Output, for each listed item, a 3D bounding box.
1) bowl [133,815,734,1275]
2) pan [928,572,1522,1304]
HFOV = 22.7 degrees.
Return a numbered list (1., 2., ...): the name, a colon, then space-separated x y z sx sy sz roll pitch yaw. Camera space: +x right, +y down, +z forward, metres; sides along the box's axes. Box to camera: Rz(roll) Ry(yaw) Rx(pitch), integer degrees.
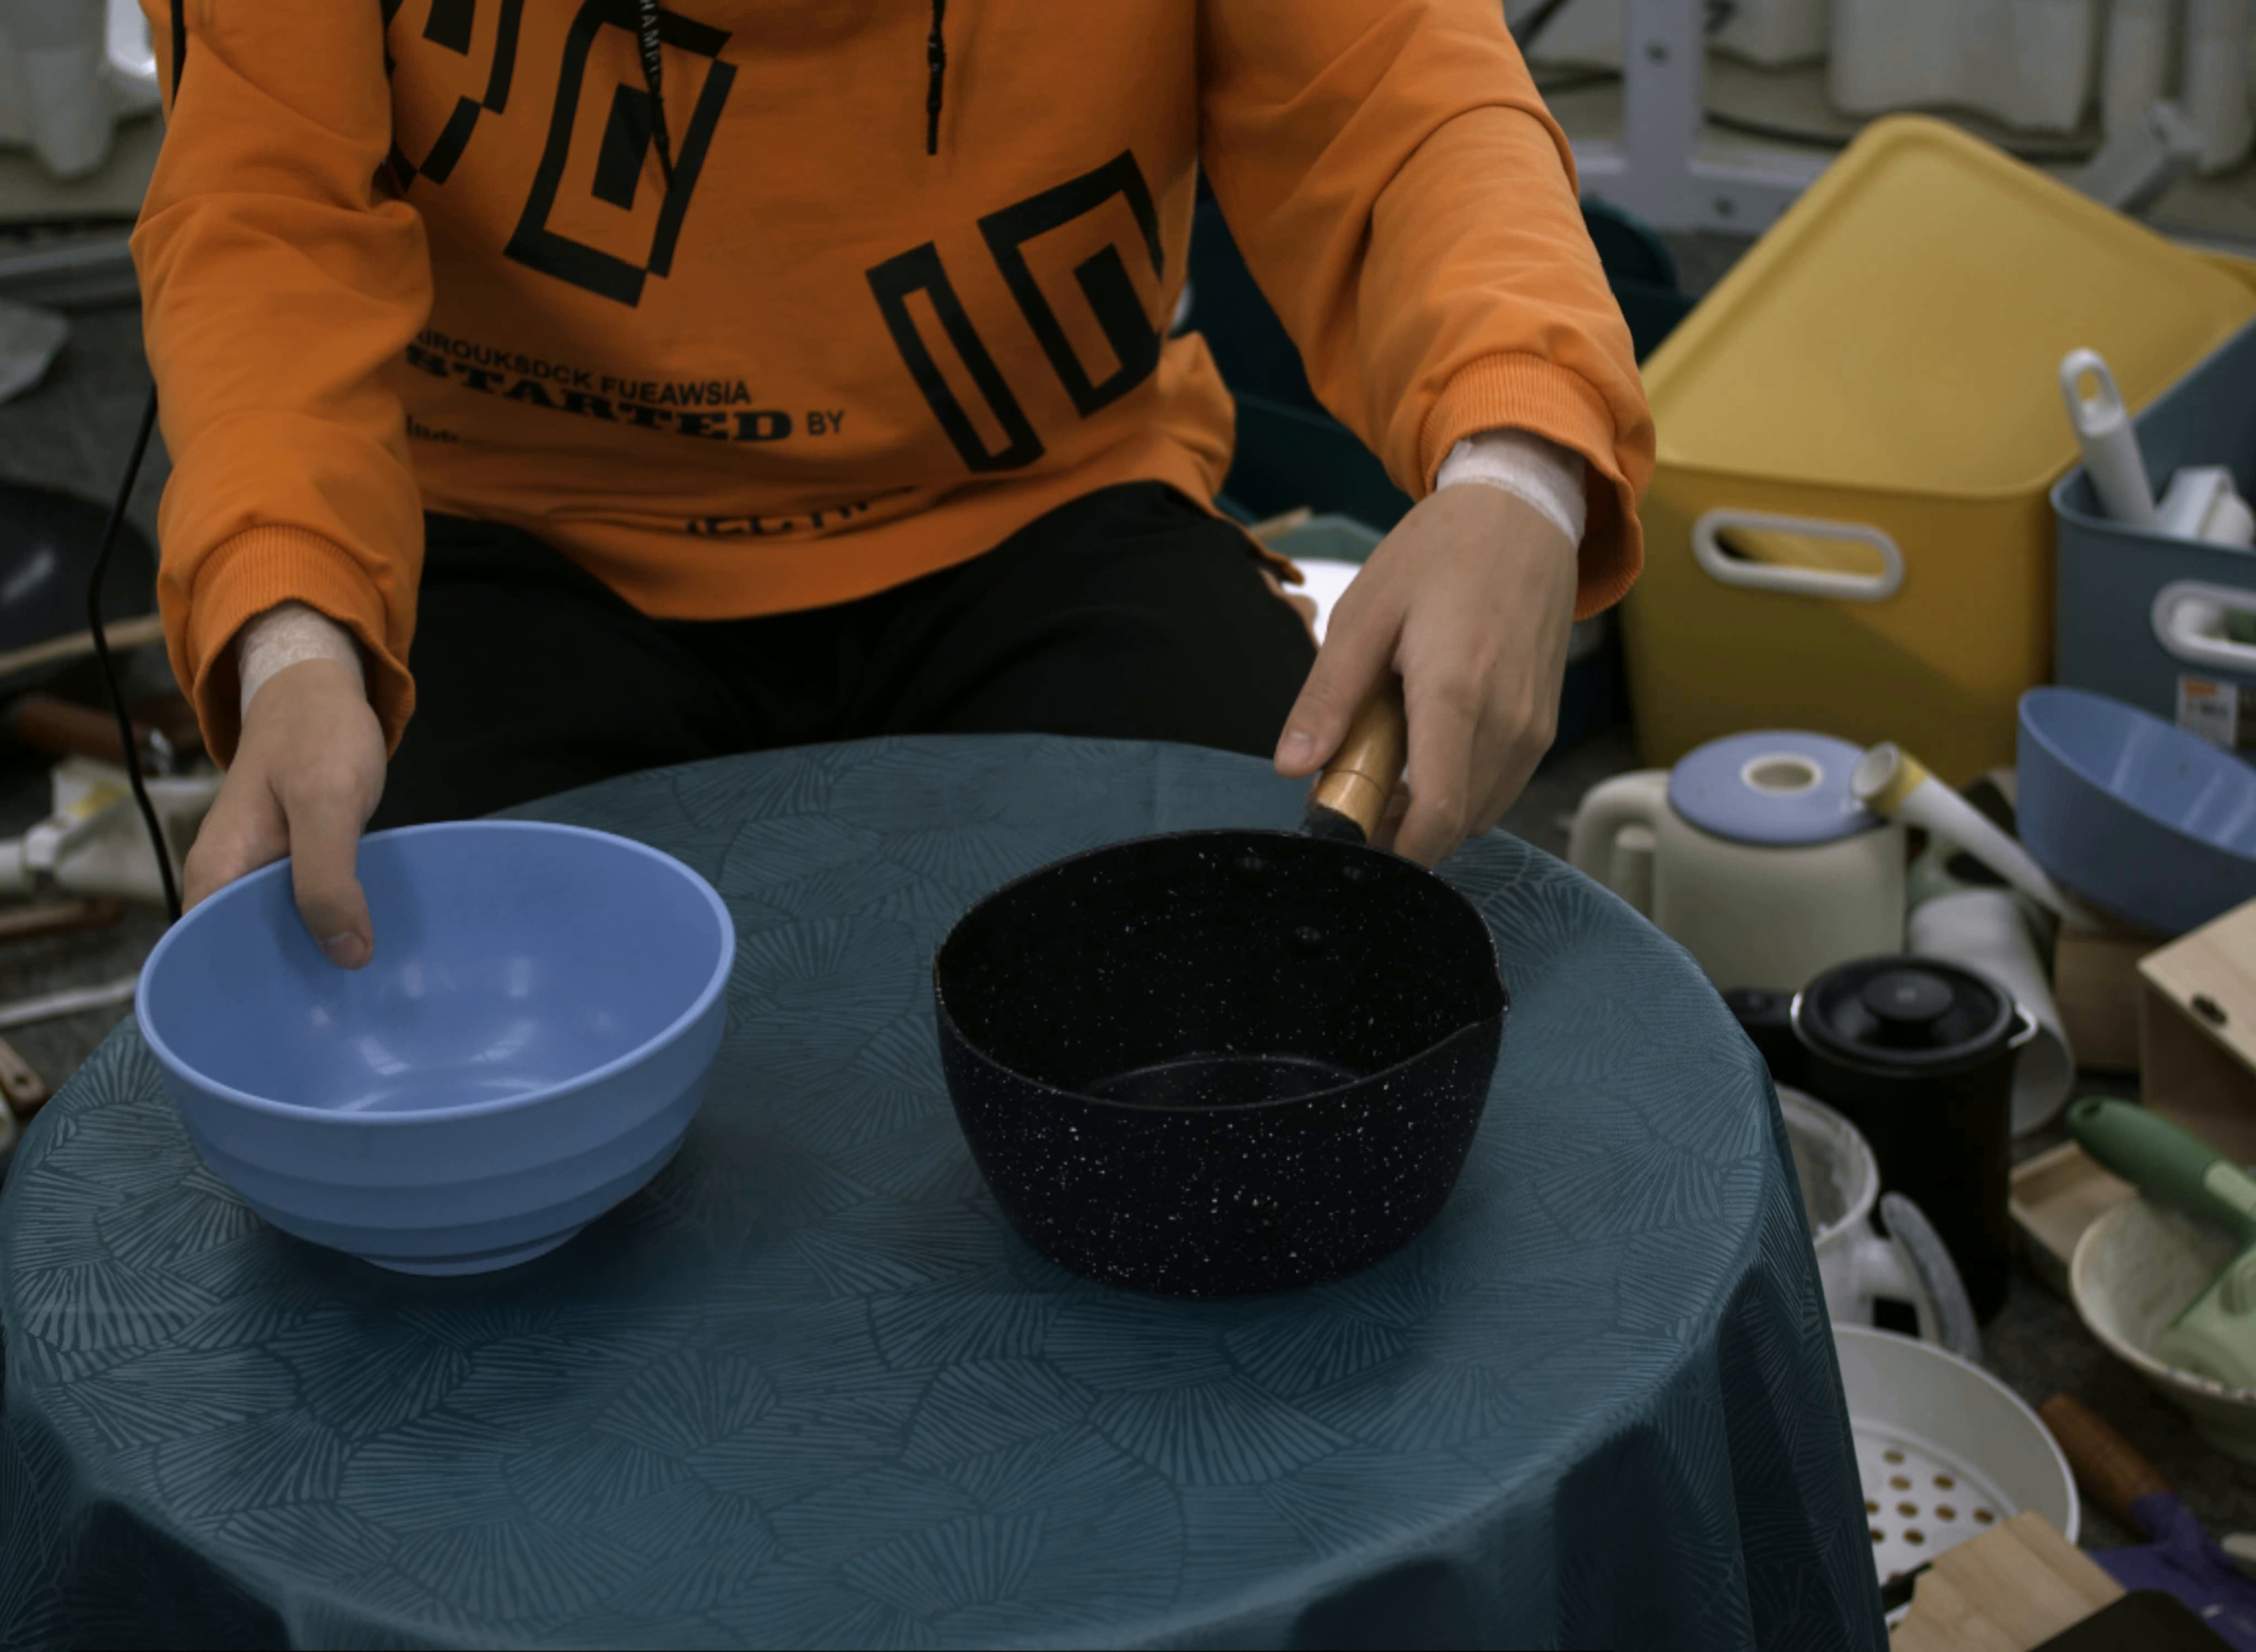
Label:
1. bowl: -0.223 0.084 1.852 0.195 0.094 0.199 -3 29 2
2. pan: 0.056 0.034 1.908 0.206 0.107 0.349 6 30 19
